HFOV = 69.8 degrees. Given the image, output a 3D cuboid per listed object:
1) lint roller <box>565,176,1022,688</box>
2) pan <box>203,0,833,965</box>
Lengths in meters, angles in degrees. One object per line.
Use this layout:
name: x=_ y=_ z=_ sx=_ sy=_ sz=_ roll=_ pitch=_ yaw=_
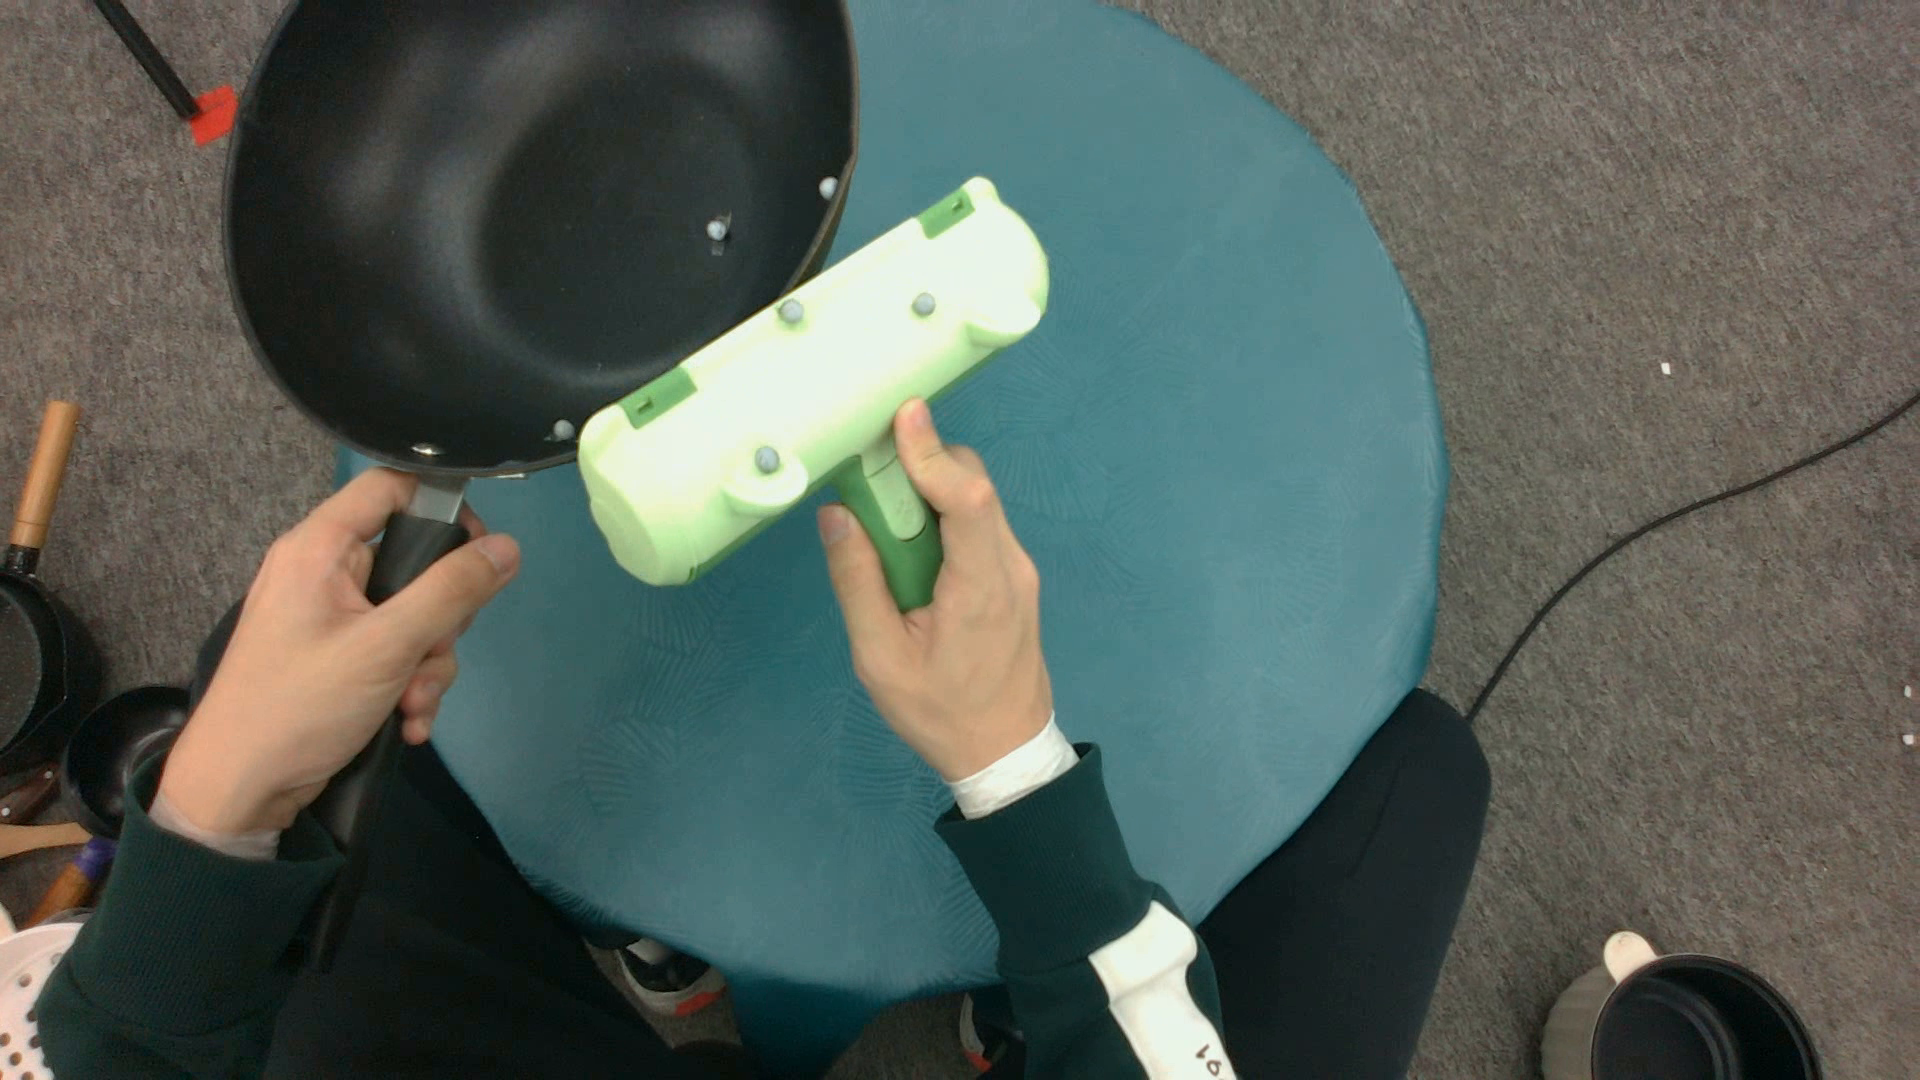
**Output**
lint roller: x=-0.025 y=-0.015 z=0.522 sx=0.199 sy=0.082 sz=0.183 roll=-41 pitch=114 yaw=-30
pan: x=-0.188 y=-0.066 z=0.563 sx=0.288 sy=0.087 sz=0.464 roll=7 pitch=82 yaw=18
